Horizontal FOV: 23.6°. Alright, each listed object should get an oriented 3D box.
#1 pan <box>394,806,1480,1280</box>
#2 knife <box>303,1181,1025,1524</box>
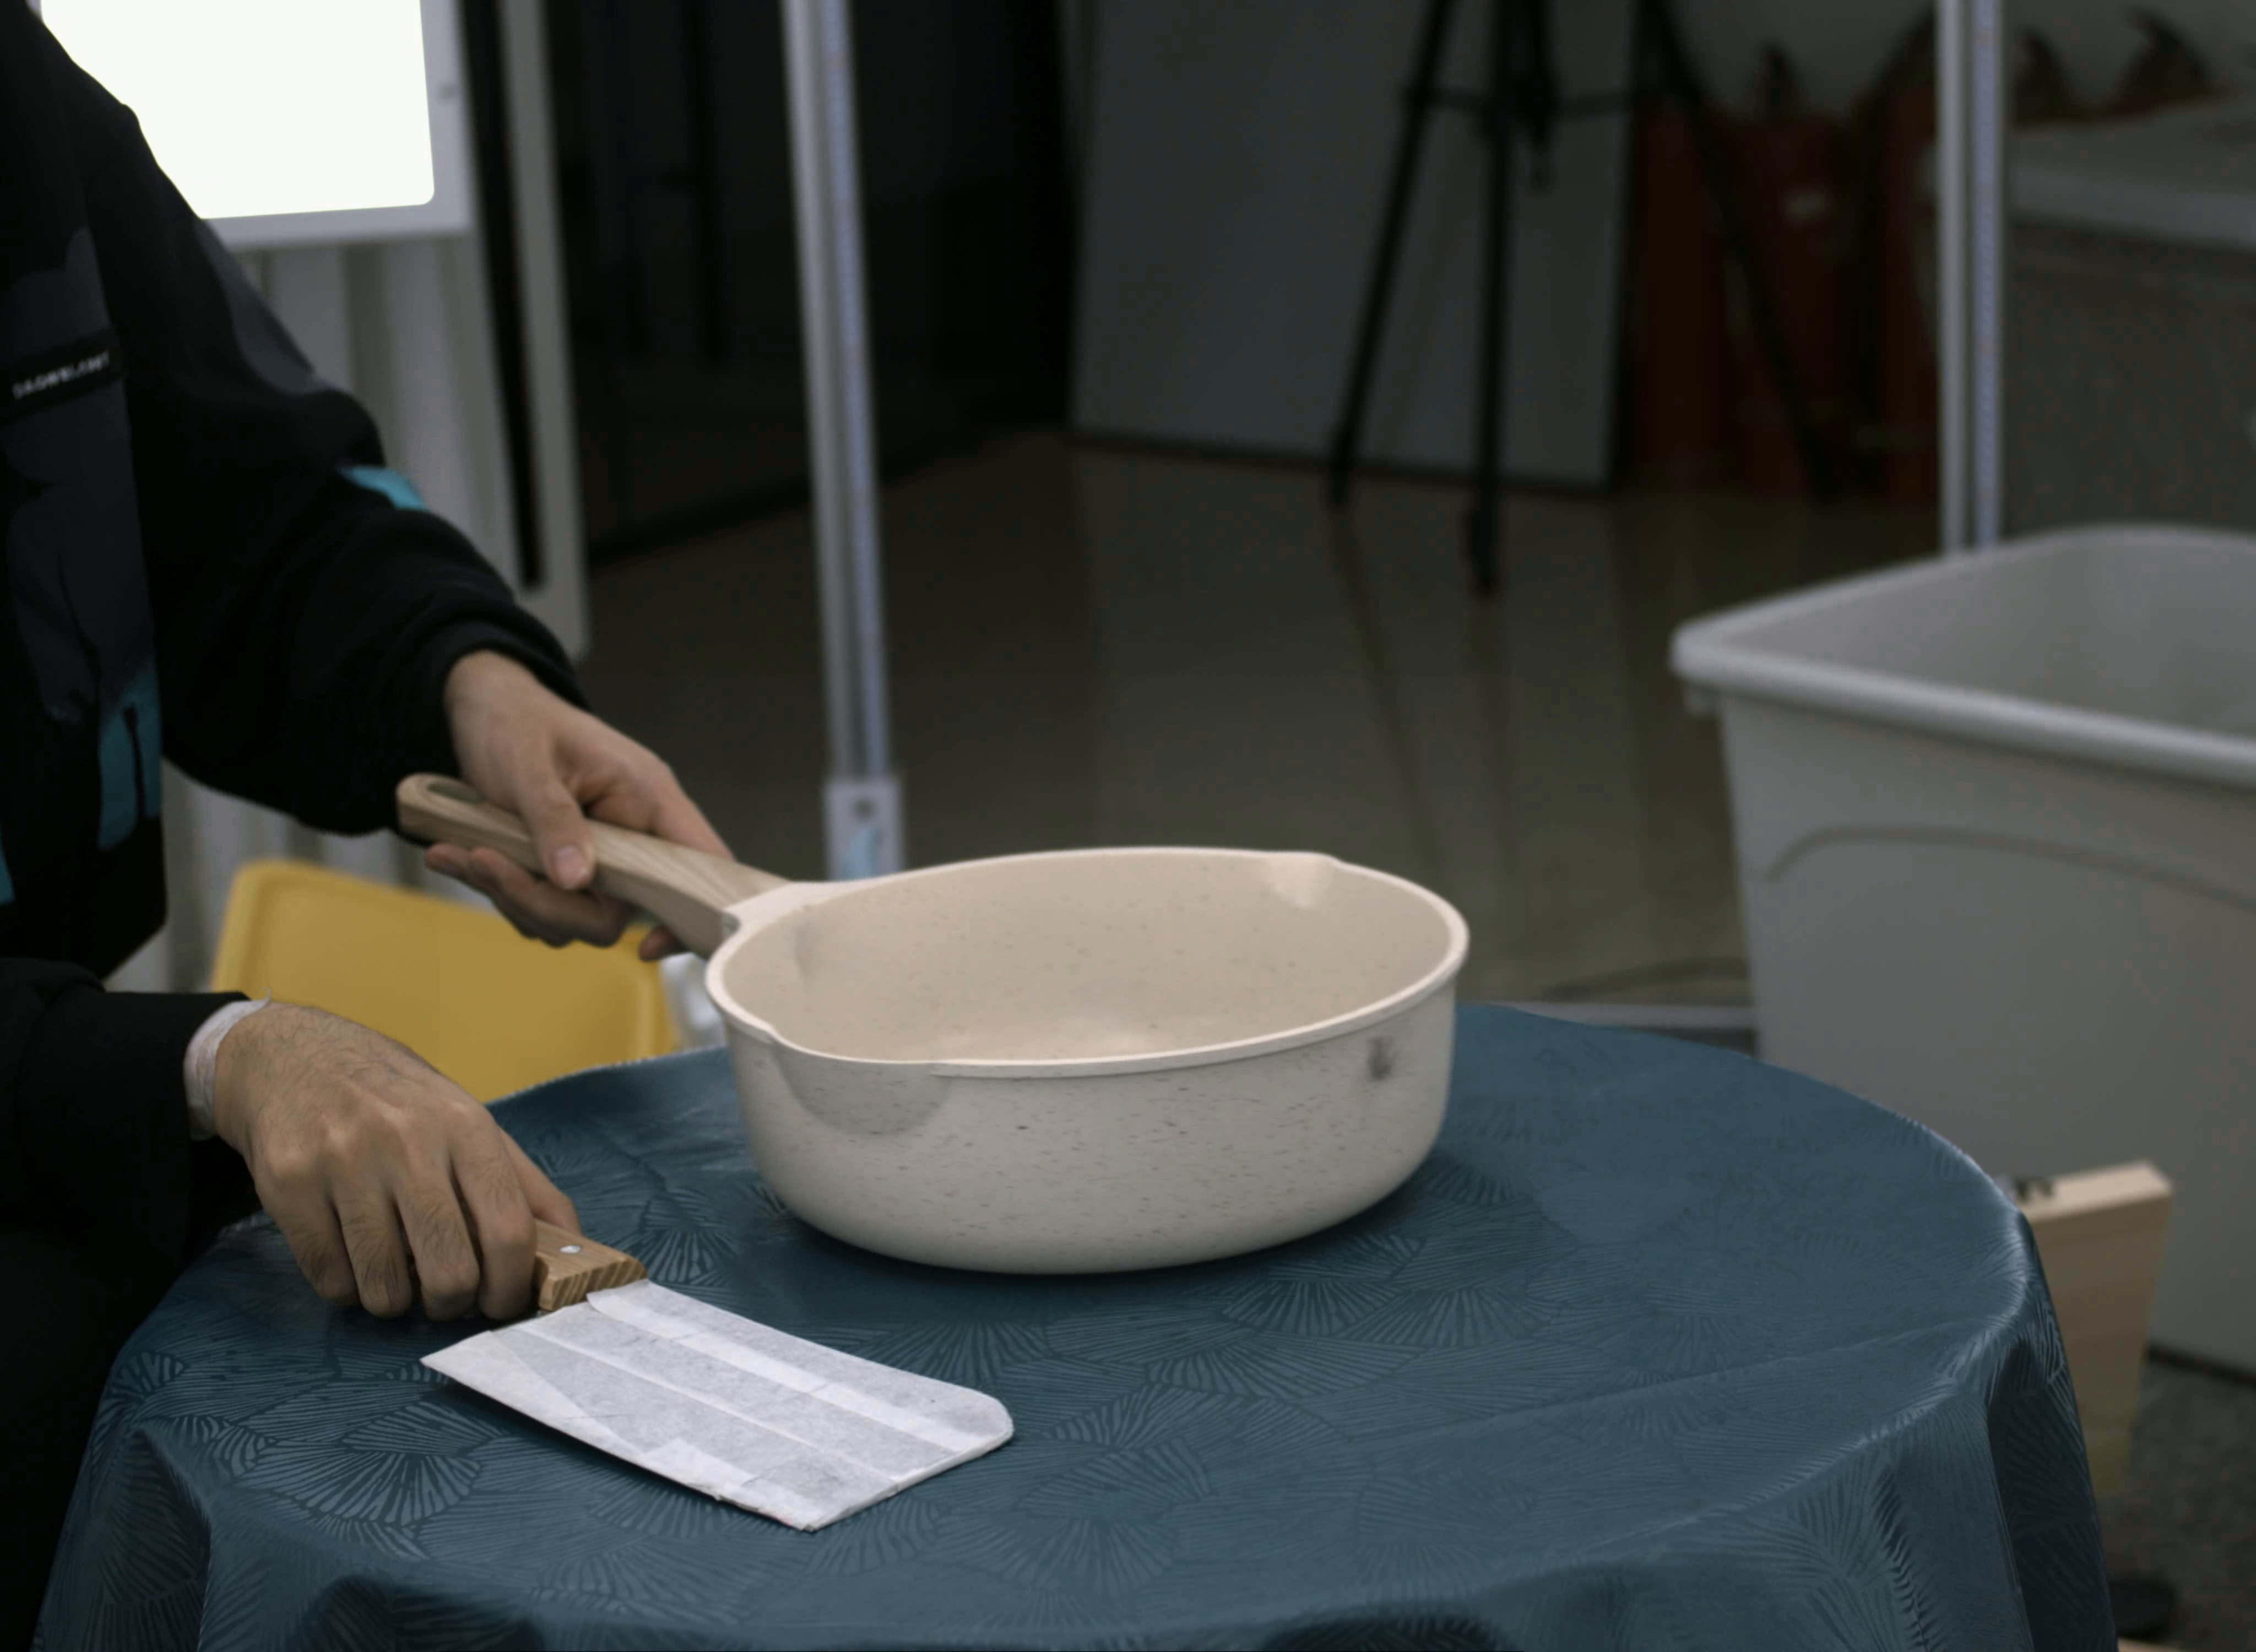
[{"bbox_3d":[-0.079,0.062,1.827,0.438,0.103,0.259,7,20,37],"label":"pan"},{"bbox_3d":[-0.153,0.156,1.638,0.111,0.022,0.319,-16,20,-36],"label":"knife"}]
